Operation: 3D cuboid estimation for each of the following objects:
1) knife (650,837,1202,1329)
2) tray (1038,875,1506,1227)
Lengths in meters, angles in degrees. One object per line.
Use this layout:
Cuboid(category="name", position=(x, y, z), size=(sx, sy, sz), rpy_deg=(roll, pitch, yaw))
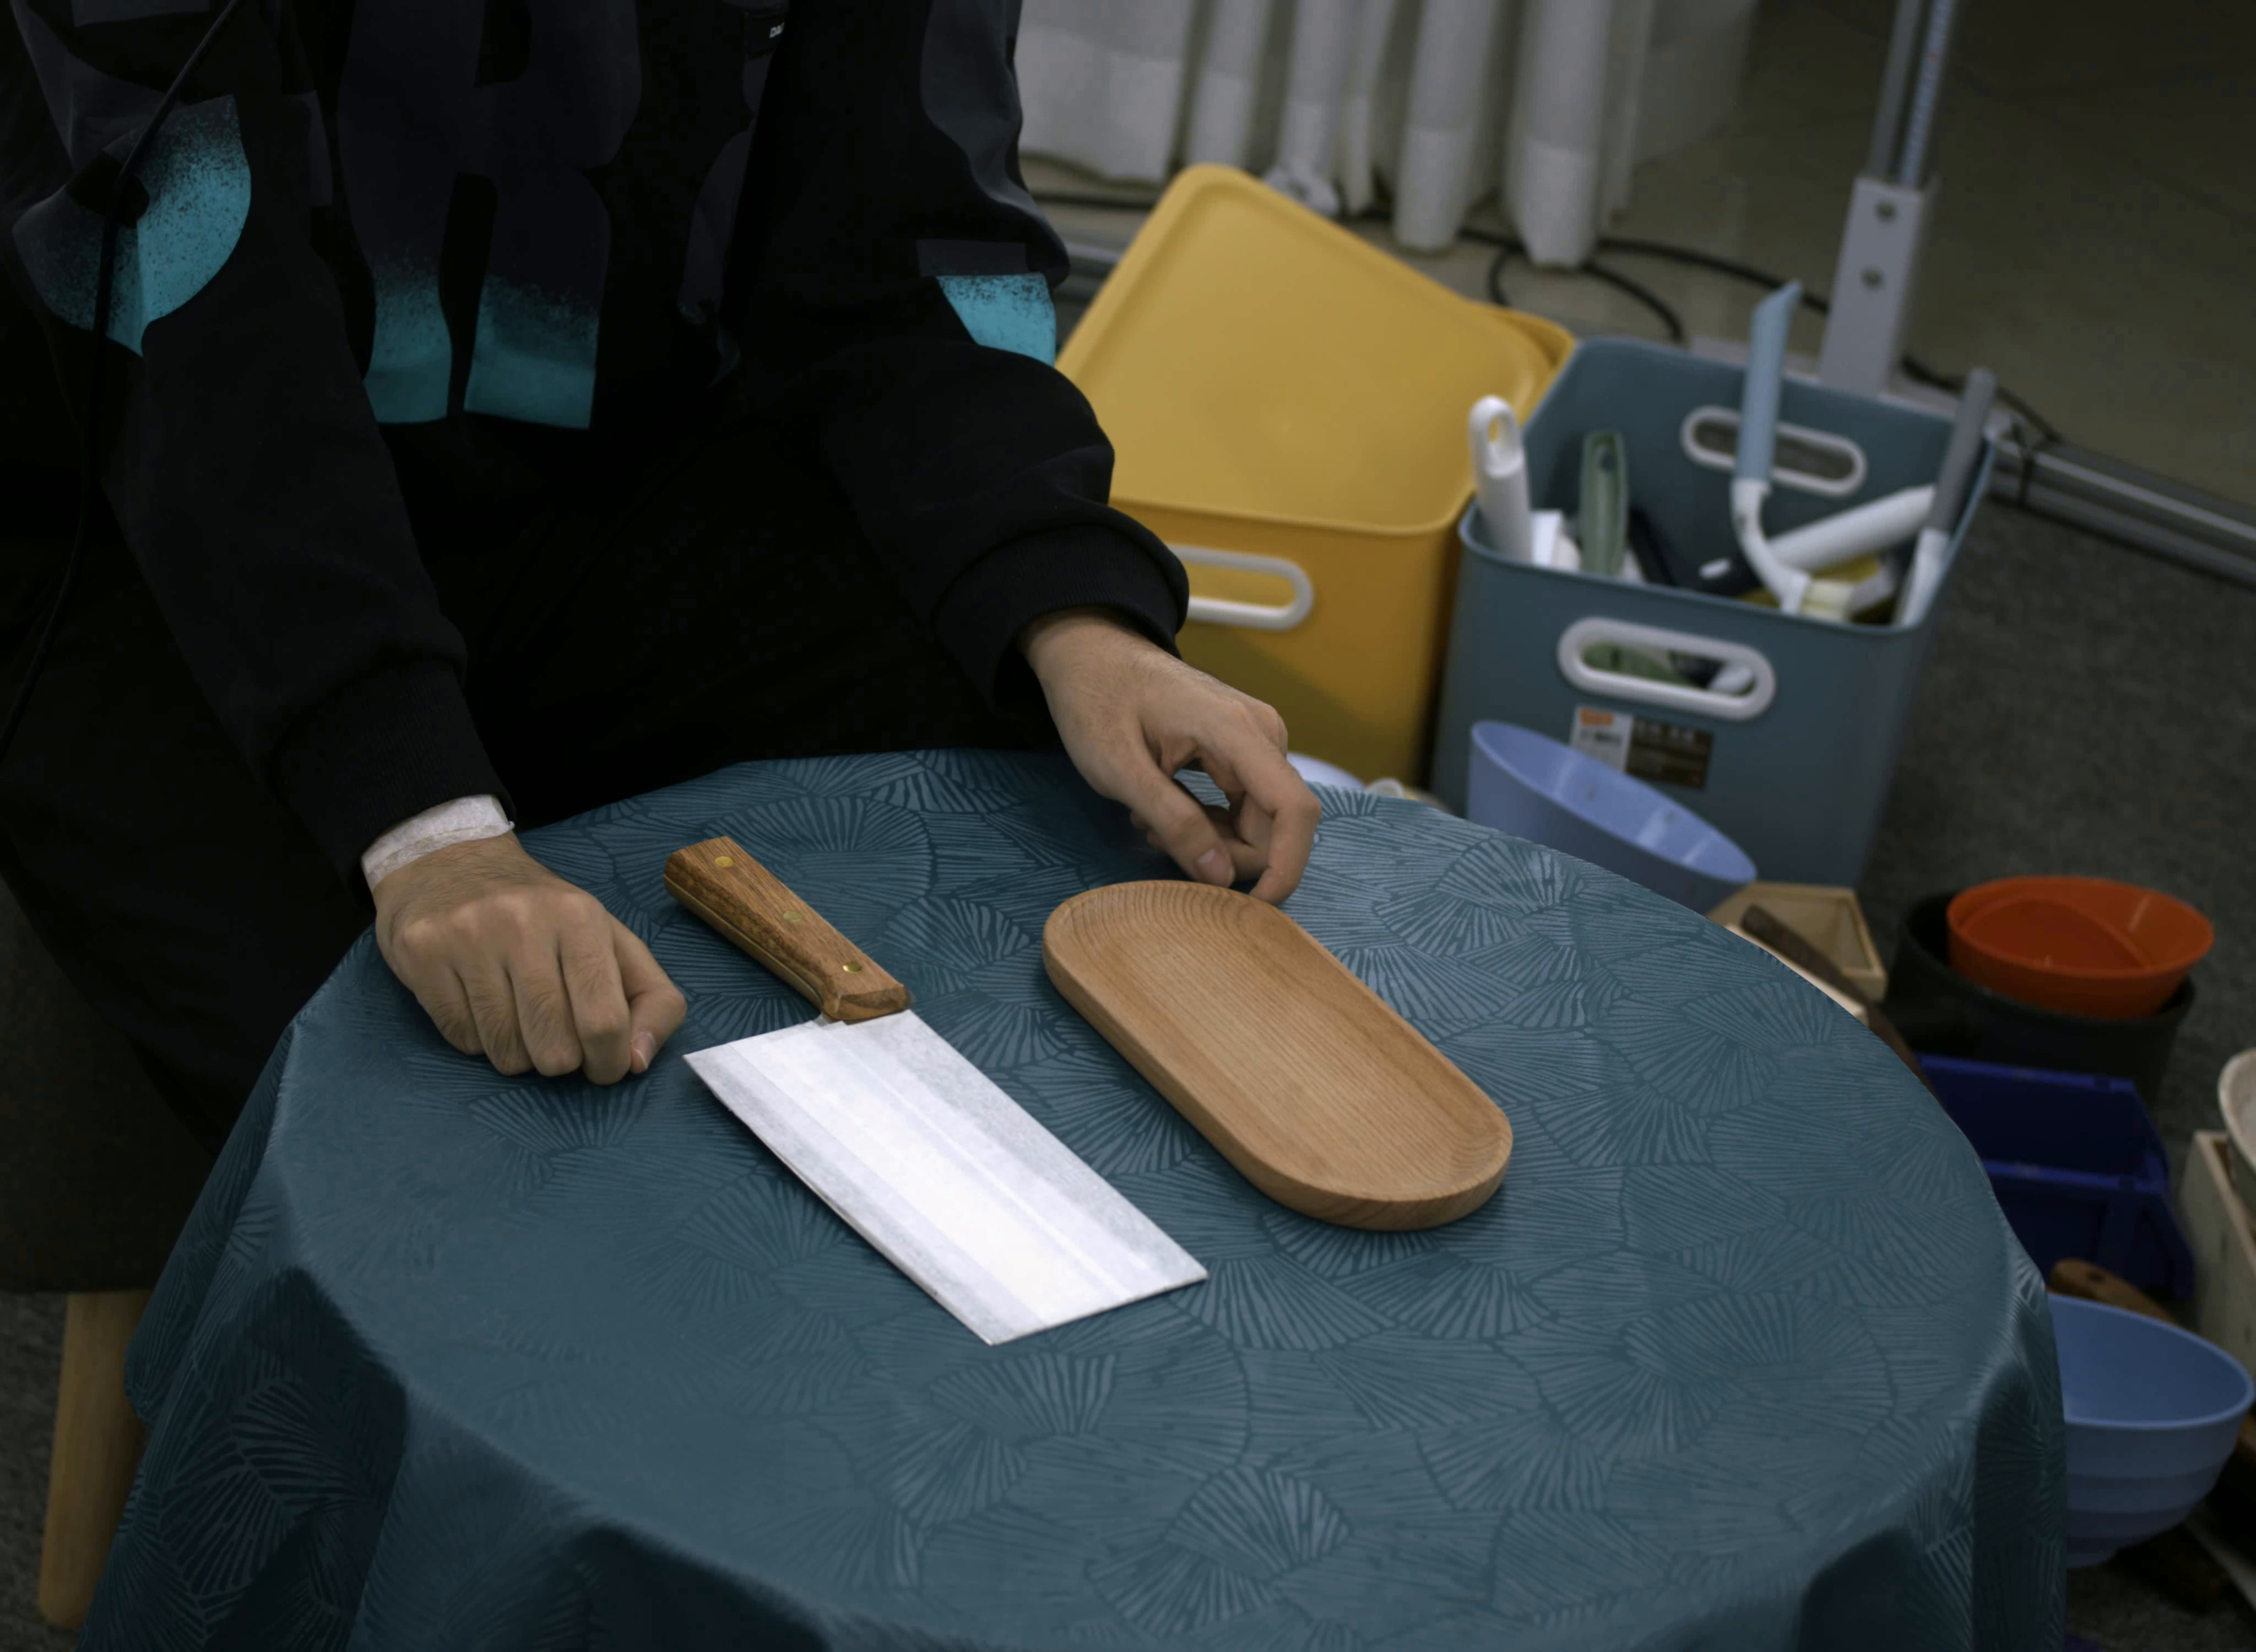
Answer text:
Cuboid(category="knife", position=(-0.095, 0.087, 1.836), size=(0.092, 0.021, 0.308), rpy_deg=(-15, 36, -33))
Cuboid(category="tray", position=(0.049, 0.077, 1.885), size=(0.101, 0.020, 0.233), rpy_deg=(-9, 30, -28))
